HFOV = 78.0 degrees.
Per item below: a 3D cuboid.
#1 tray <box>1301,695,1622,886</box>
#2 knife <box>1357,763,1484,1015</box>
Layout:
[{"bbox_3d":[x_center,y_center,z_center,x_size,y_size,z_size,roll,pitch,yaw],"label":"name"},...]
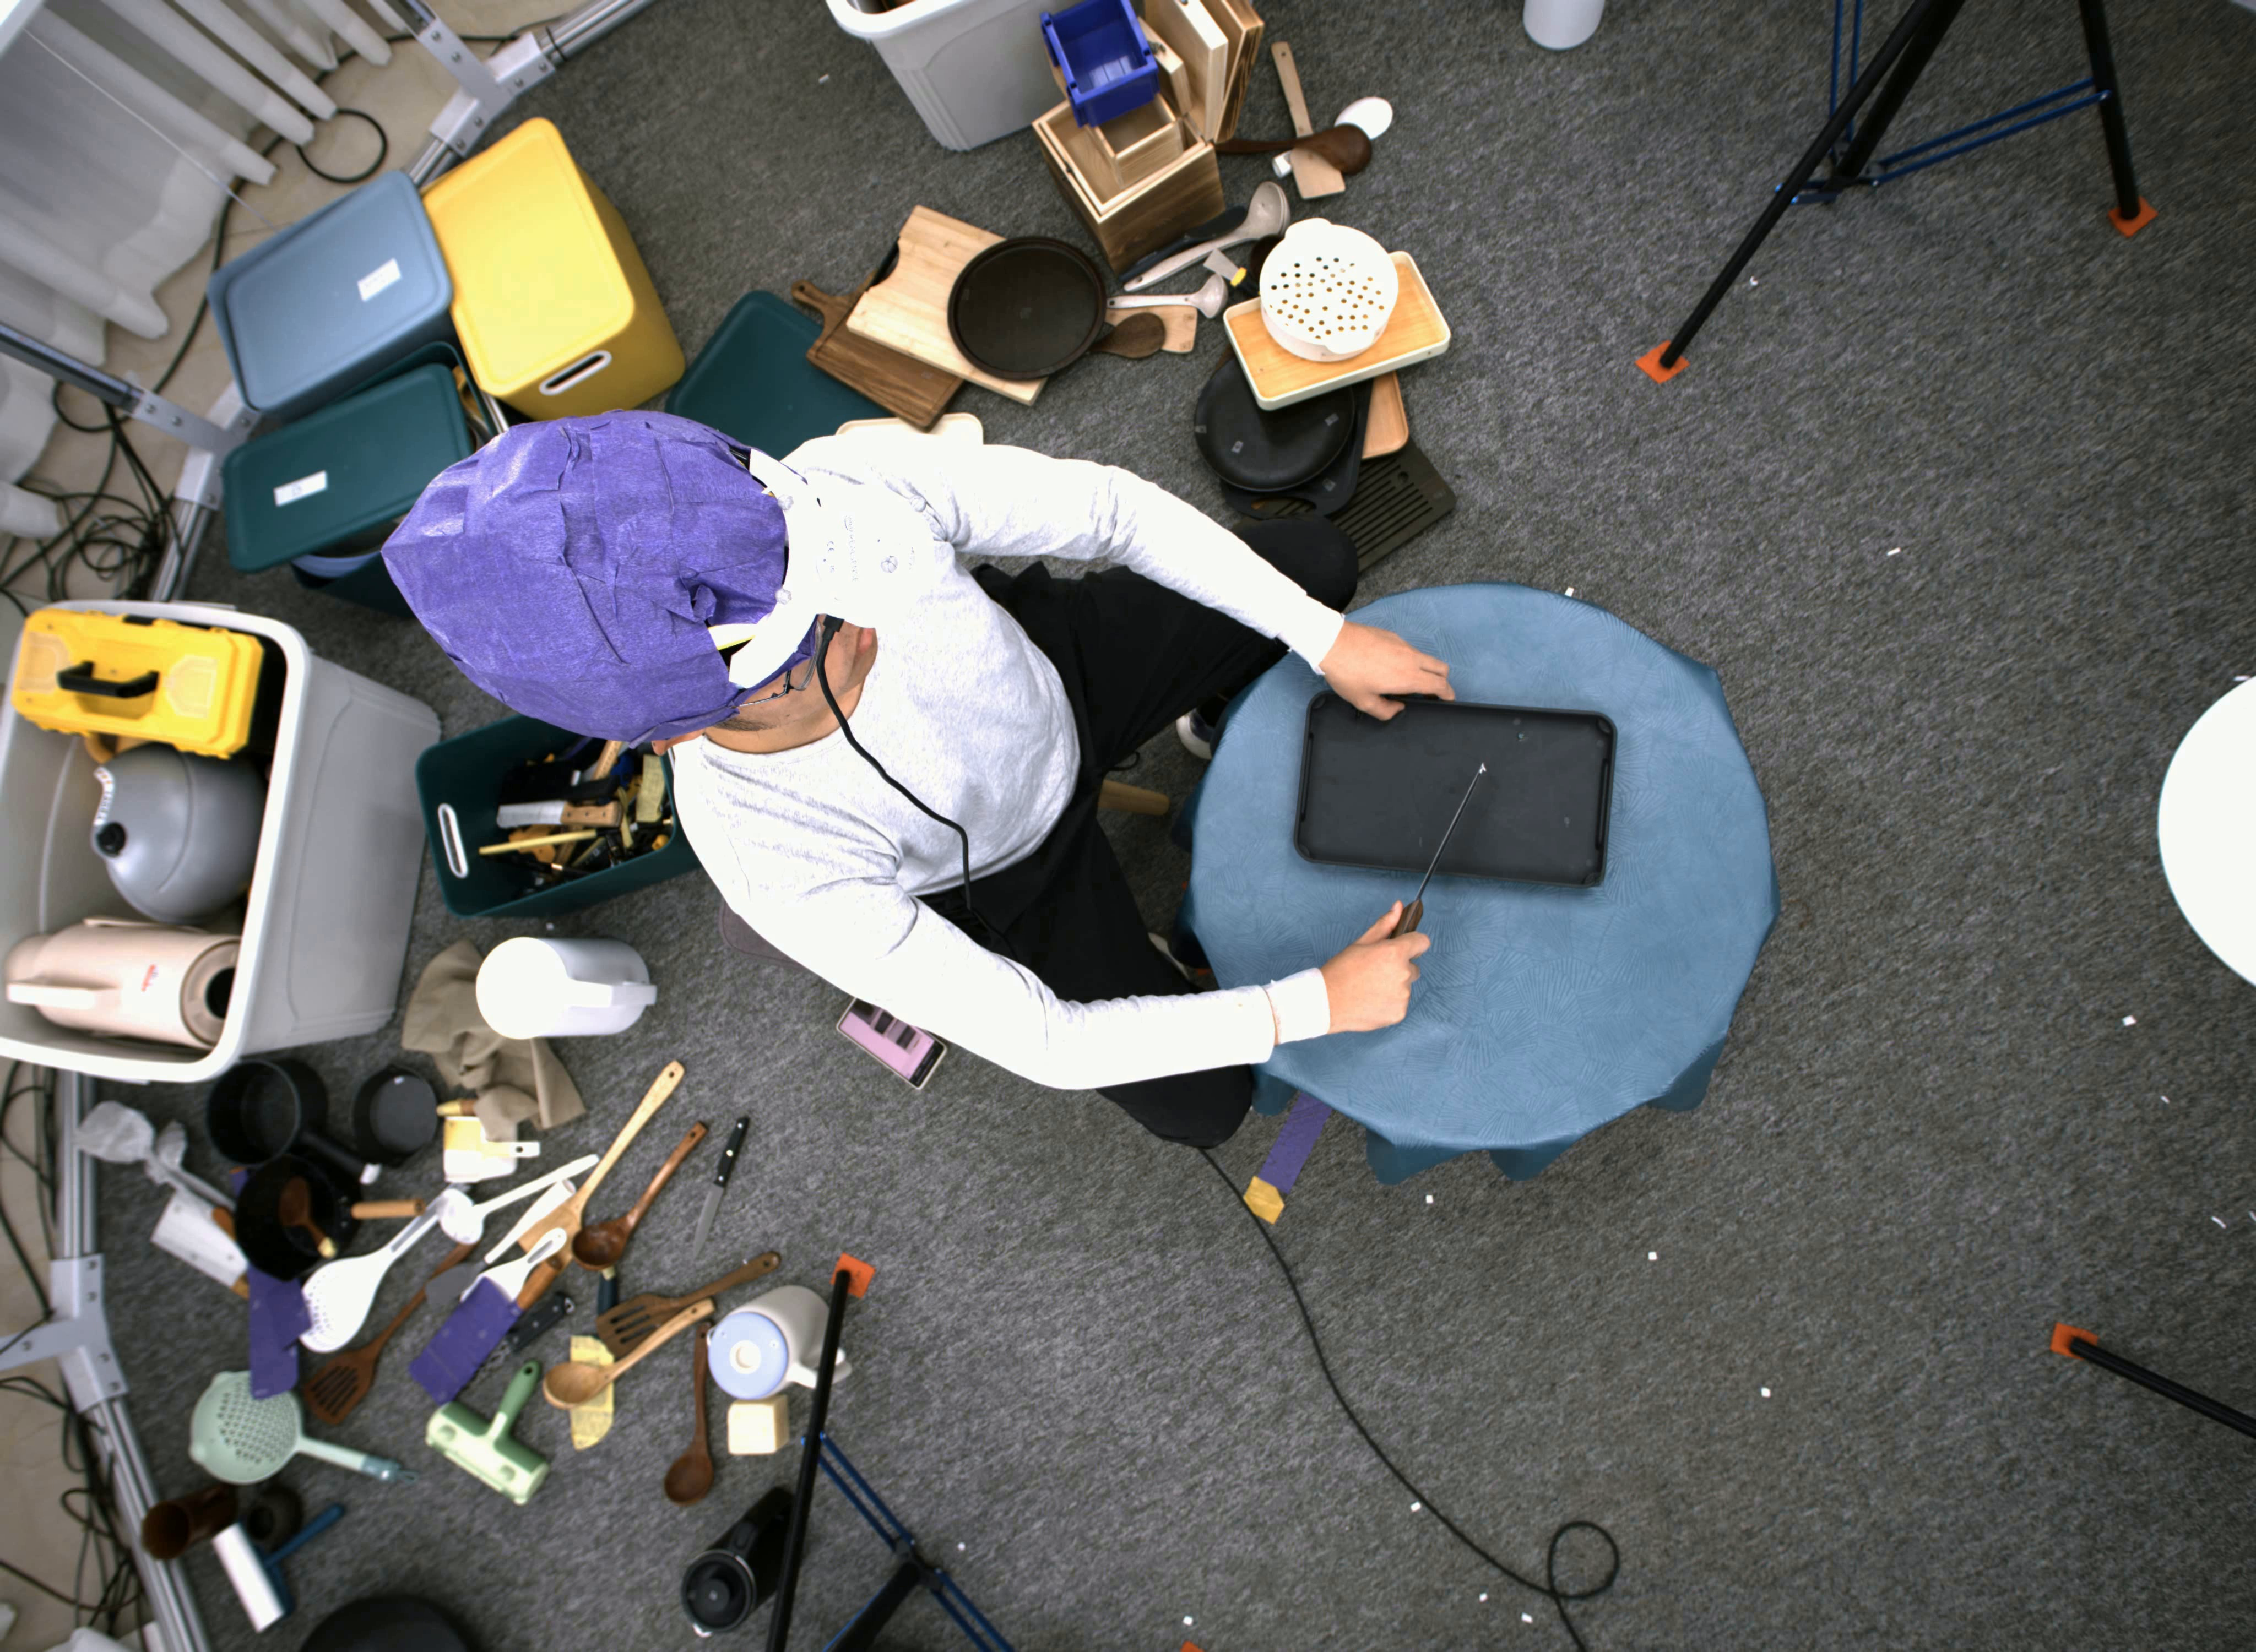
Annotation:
[{"bbox_3d":[0.344,-0.039,1.432,0.319,0.037,0.184,4,89,11],"label":"tray"},{"bbox_3d":[0.300,0.059,1.394,0.020,0.050,0.287,27,83,3],"label":"knife"}]
